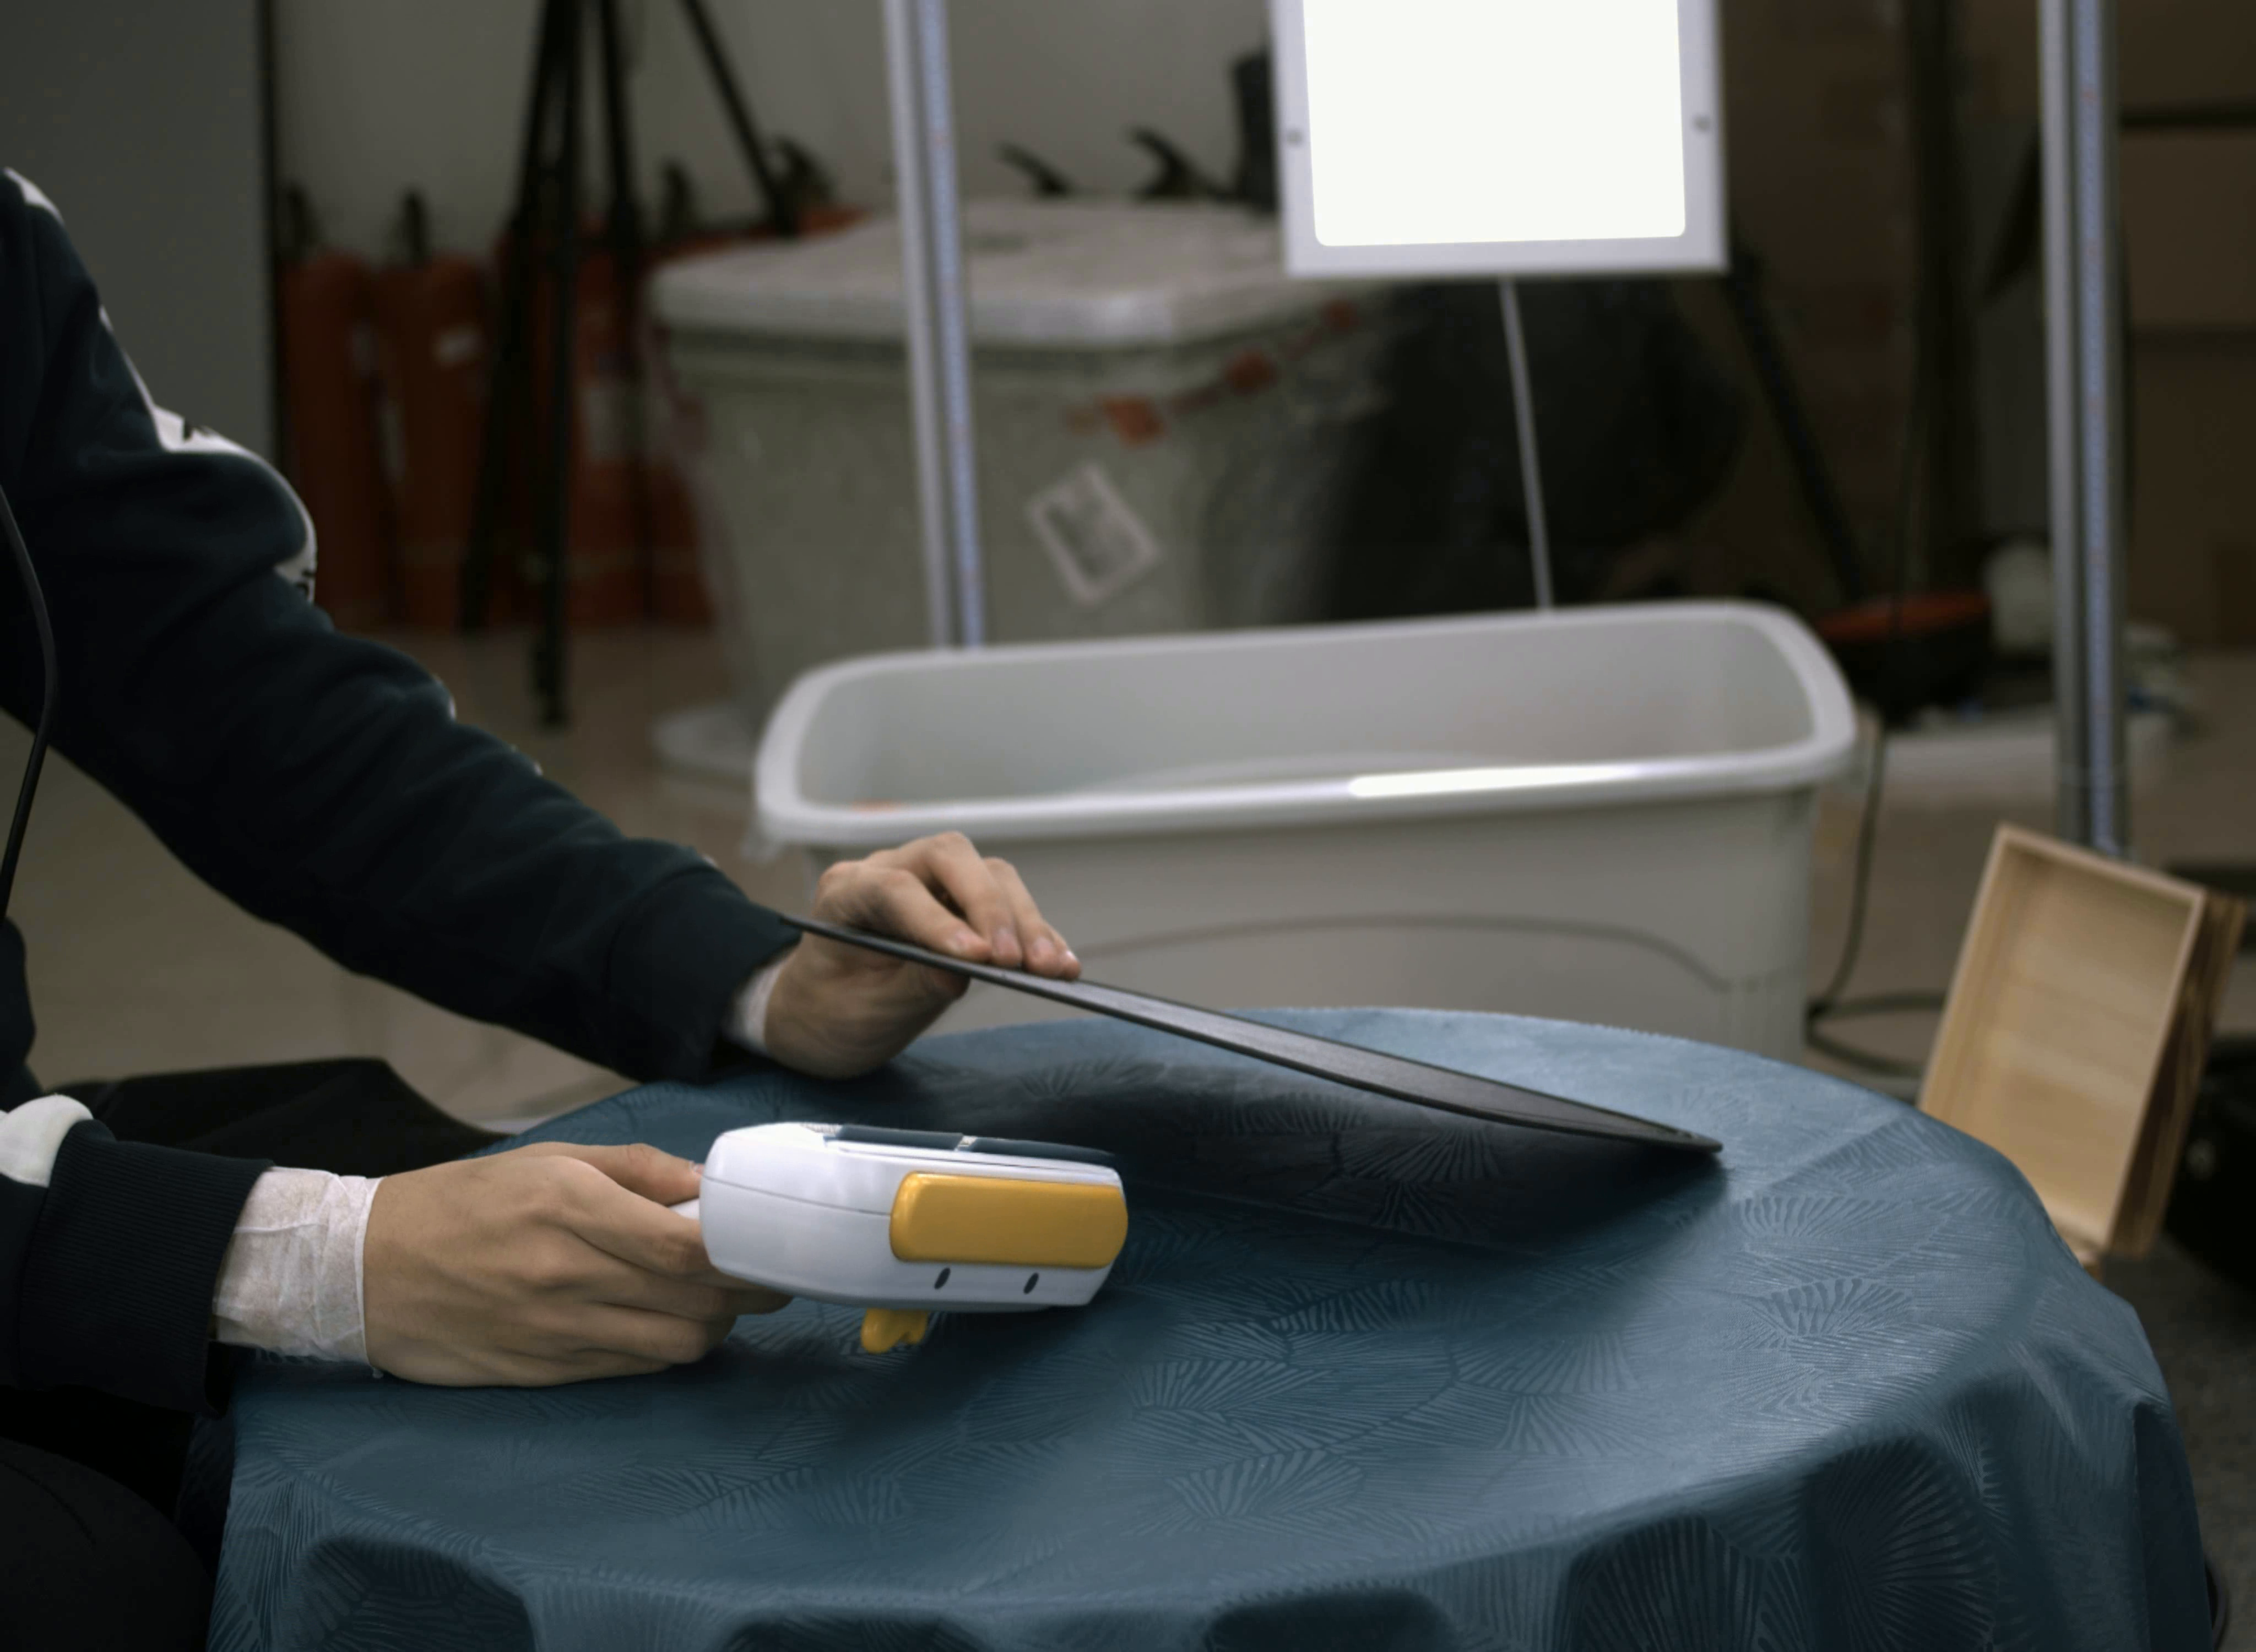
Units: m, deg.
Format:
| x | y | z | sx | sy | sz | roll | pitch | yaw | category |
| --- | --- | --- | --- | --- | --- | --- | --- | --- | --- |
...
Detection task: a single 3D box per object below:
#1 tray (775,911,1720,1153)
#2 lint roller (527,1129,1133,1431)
| x | y | z | sx | sy | sz | roll | pitch | yaw | category |
| --- | --- | --- | --- | --- | --- | --- | --- | --- | --- |
| 0.033 | 0.067 | 1.900 | 0.332 | 0.010 | 0.206 | 14 | 0 | 38 | tray |
| -0.115 | 0.147 | 1.748 | 0.196 | 0.074 | 0.188 | -16 | -12 | 34 | lint roller |
